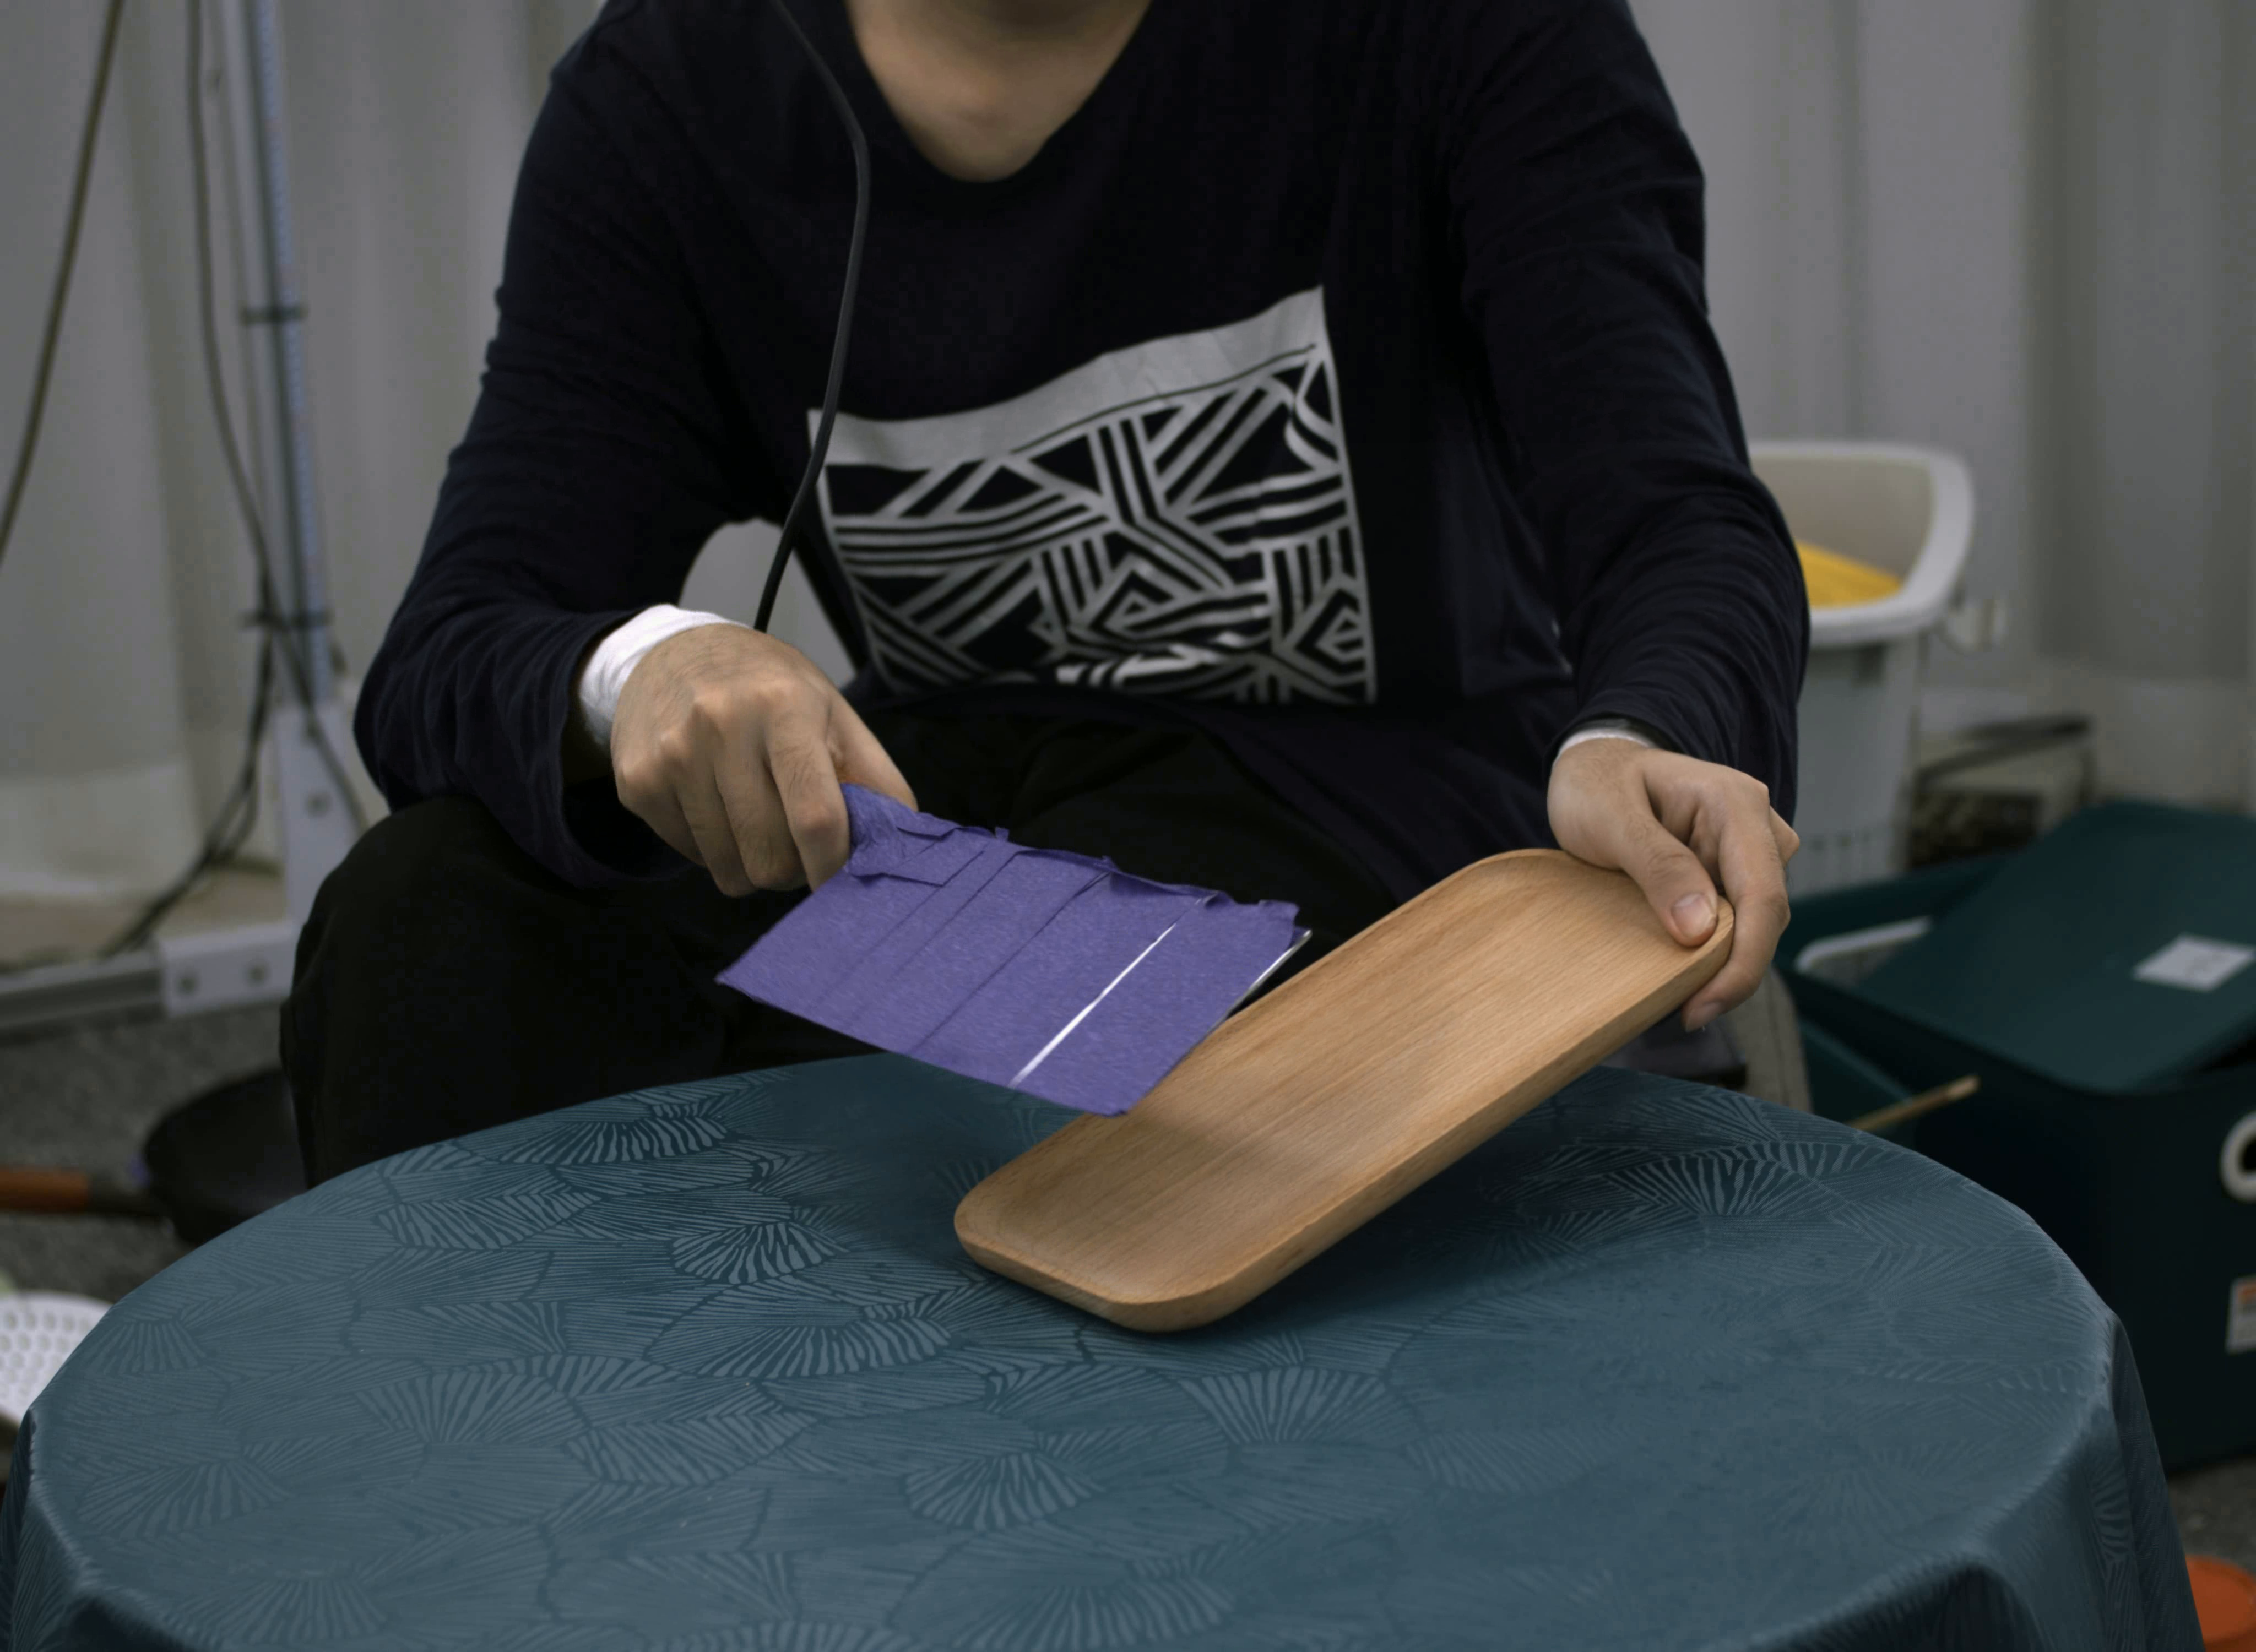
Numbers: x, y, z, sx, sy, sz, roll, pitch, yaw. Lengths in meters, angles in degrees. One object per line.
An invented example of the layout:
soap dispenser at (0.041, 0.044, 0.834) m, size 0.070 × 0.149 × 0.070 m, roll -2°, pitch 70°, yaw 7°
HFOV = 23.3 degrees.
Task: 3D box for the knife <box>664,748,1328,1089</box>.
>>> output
knife at (-0.071, 0.026, 1.714) m, size 0.104 × 0.032 × 0.317 m, roll -39°, pitch 29°, yaw -26°

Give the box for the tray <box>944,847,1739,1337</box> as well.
tray at (0.067, 0.079, 1.675) m, size 0.251 × 0.022 × 0.131 m, roll -32°, pitch 25°, yaw -25°
